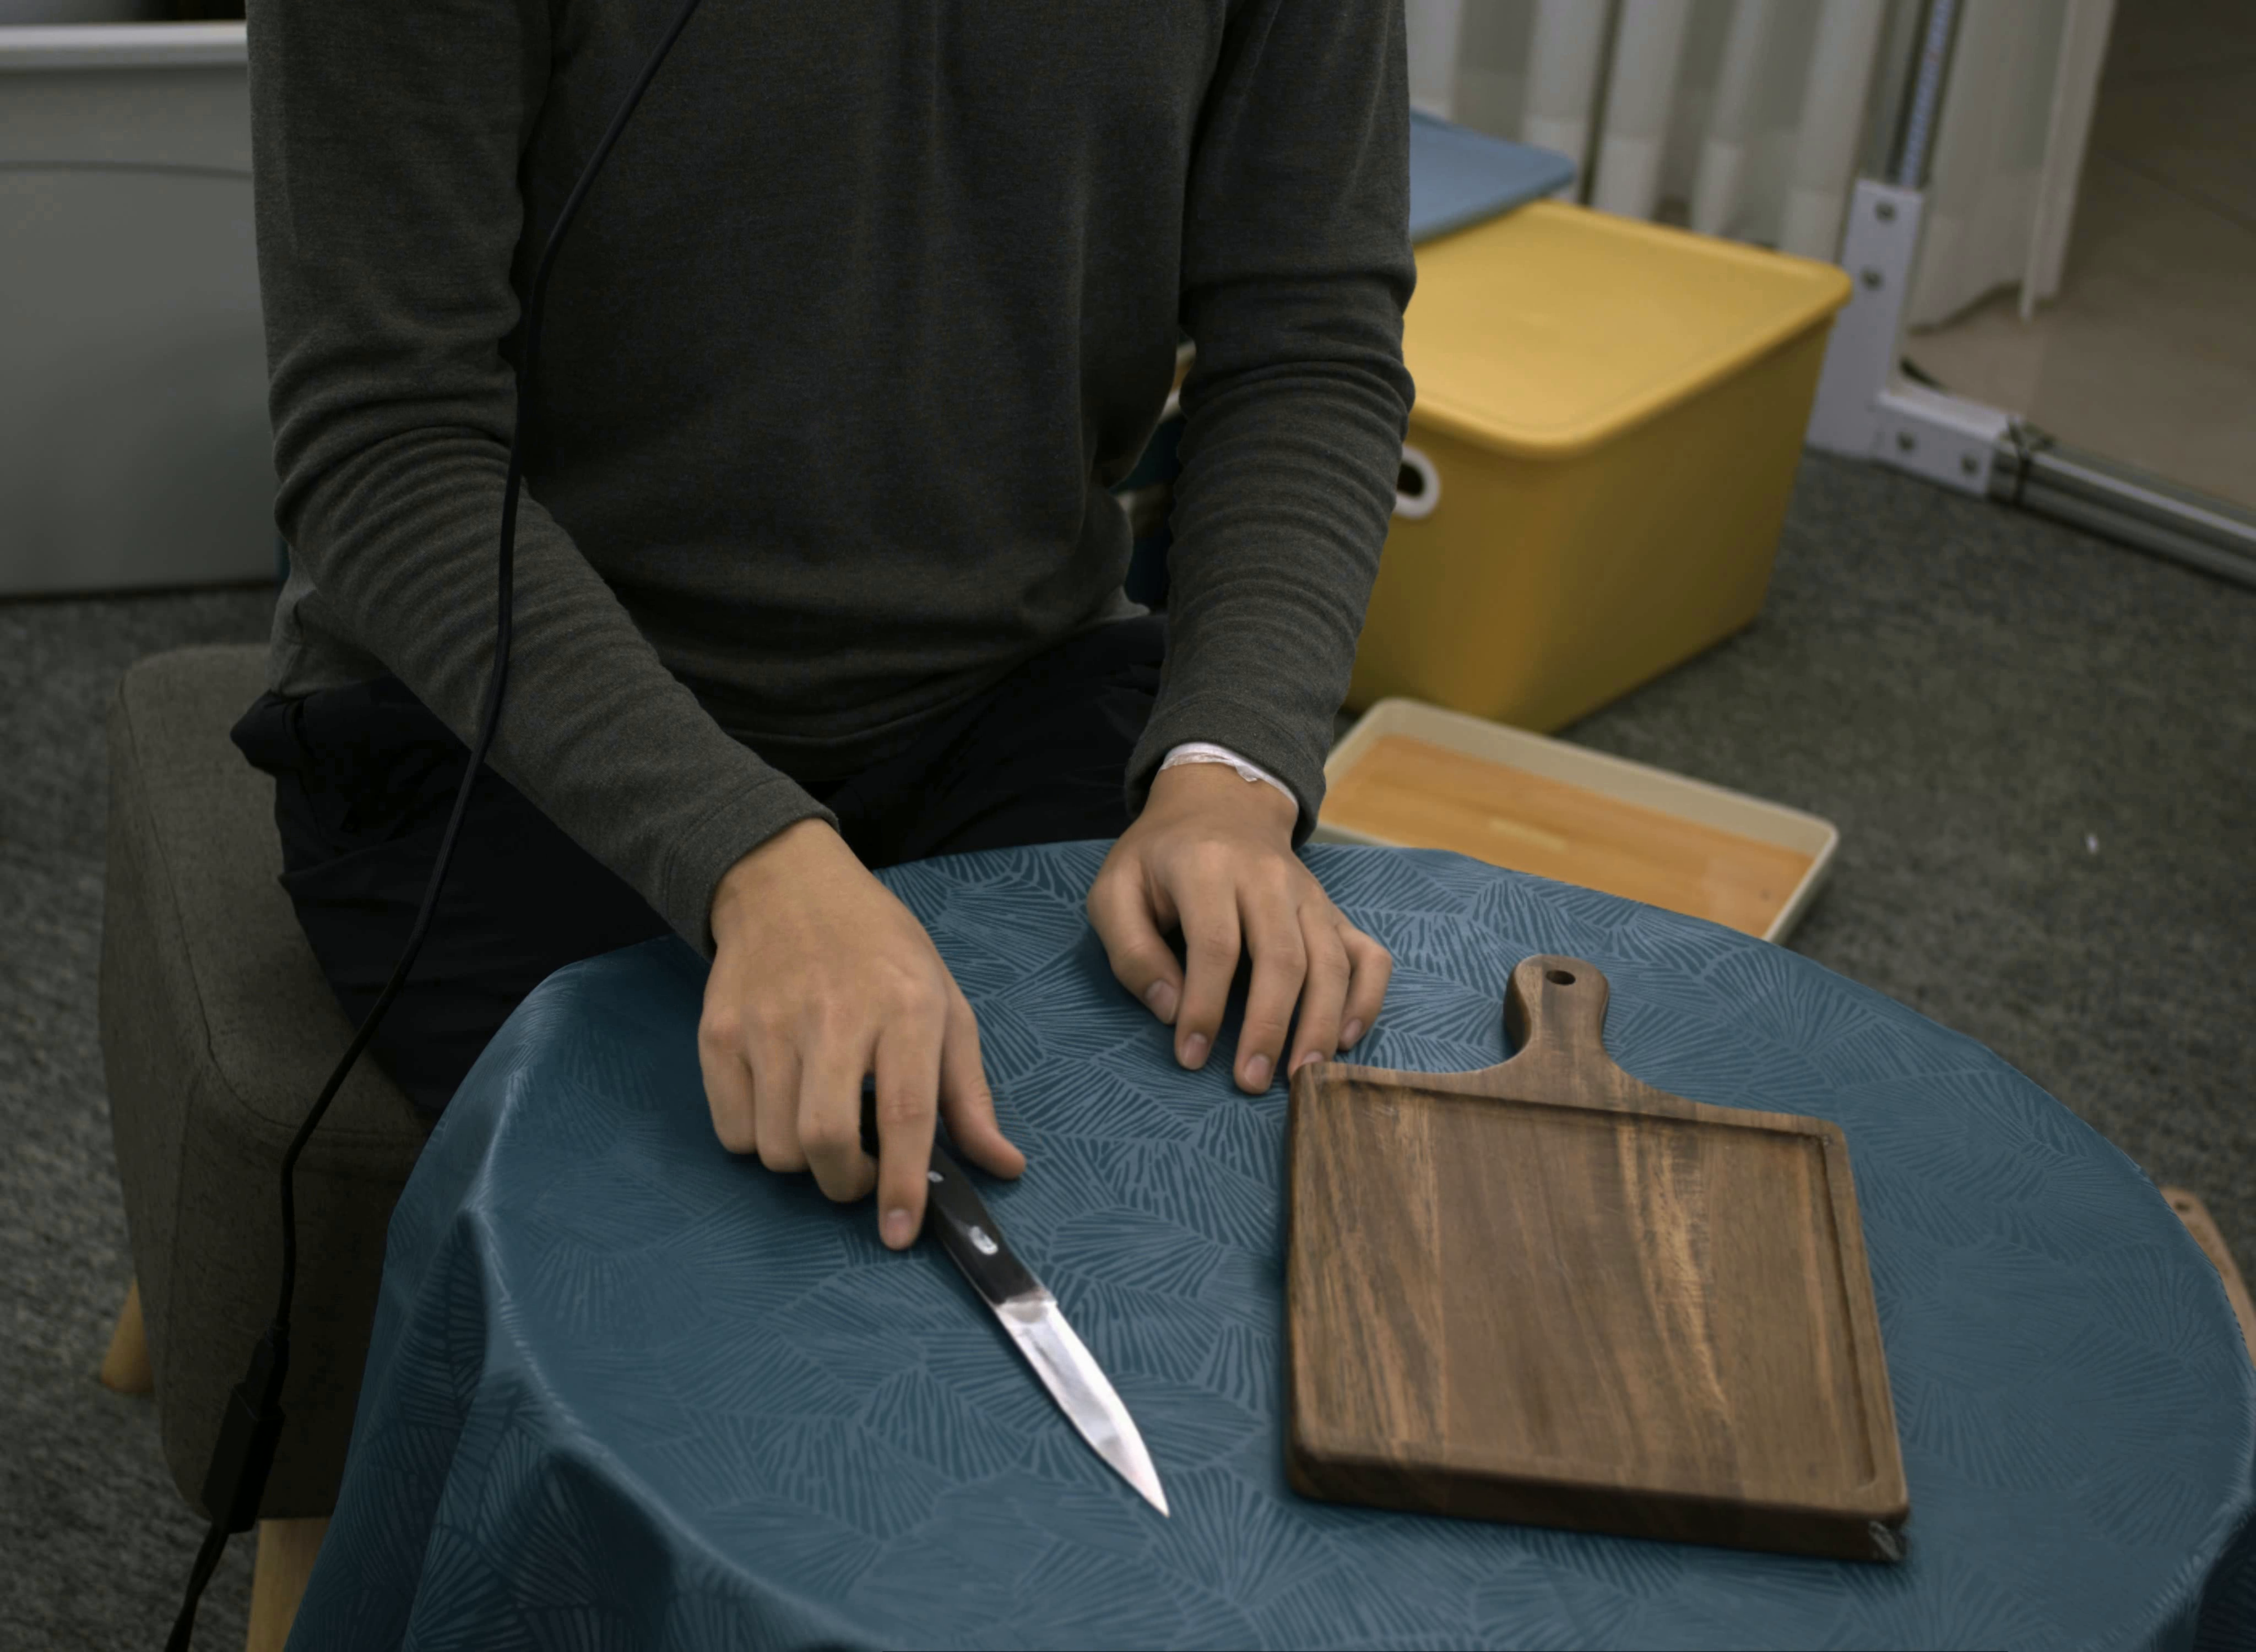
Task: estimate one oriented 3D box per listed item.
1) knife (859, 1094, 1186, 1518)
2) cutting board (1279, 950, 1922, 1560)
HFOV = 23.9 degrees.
[{"bbox_3d":[-0.037,0.155,1.724,0.024,0.016,0.240,-9,33,-24],"label":"knife"},{"bbox_3d":[0.151,0.133,1.799,0.200,0.023,0.354,6,26,-1],"label":"cutting board"}]
